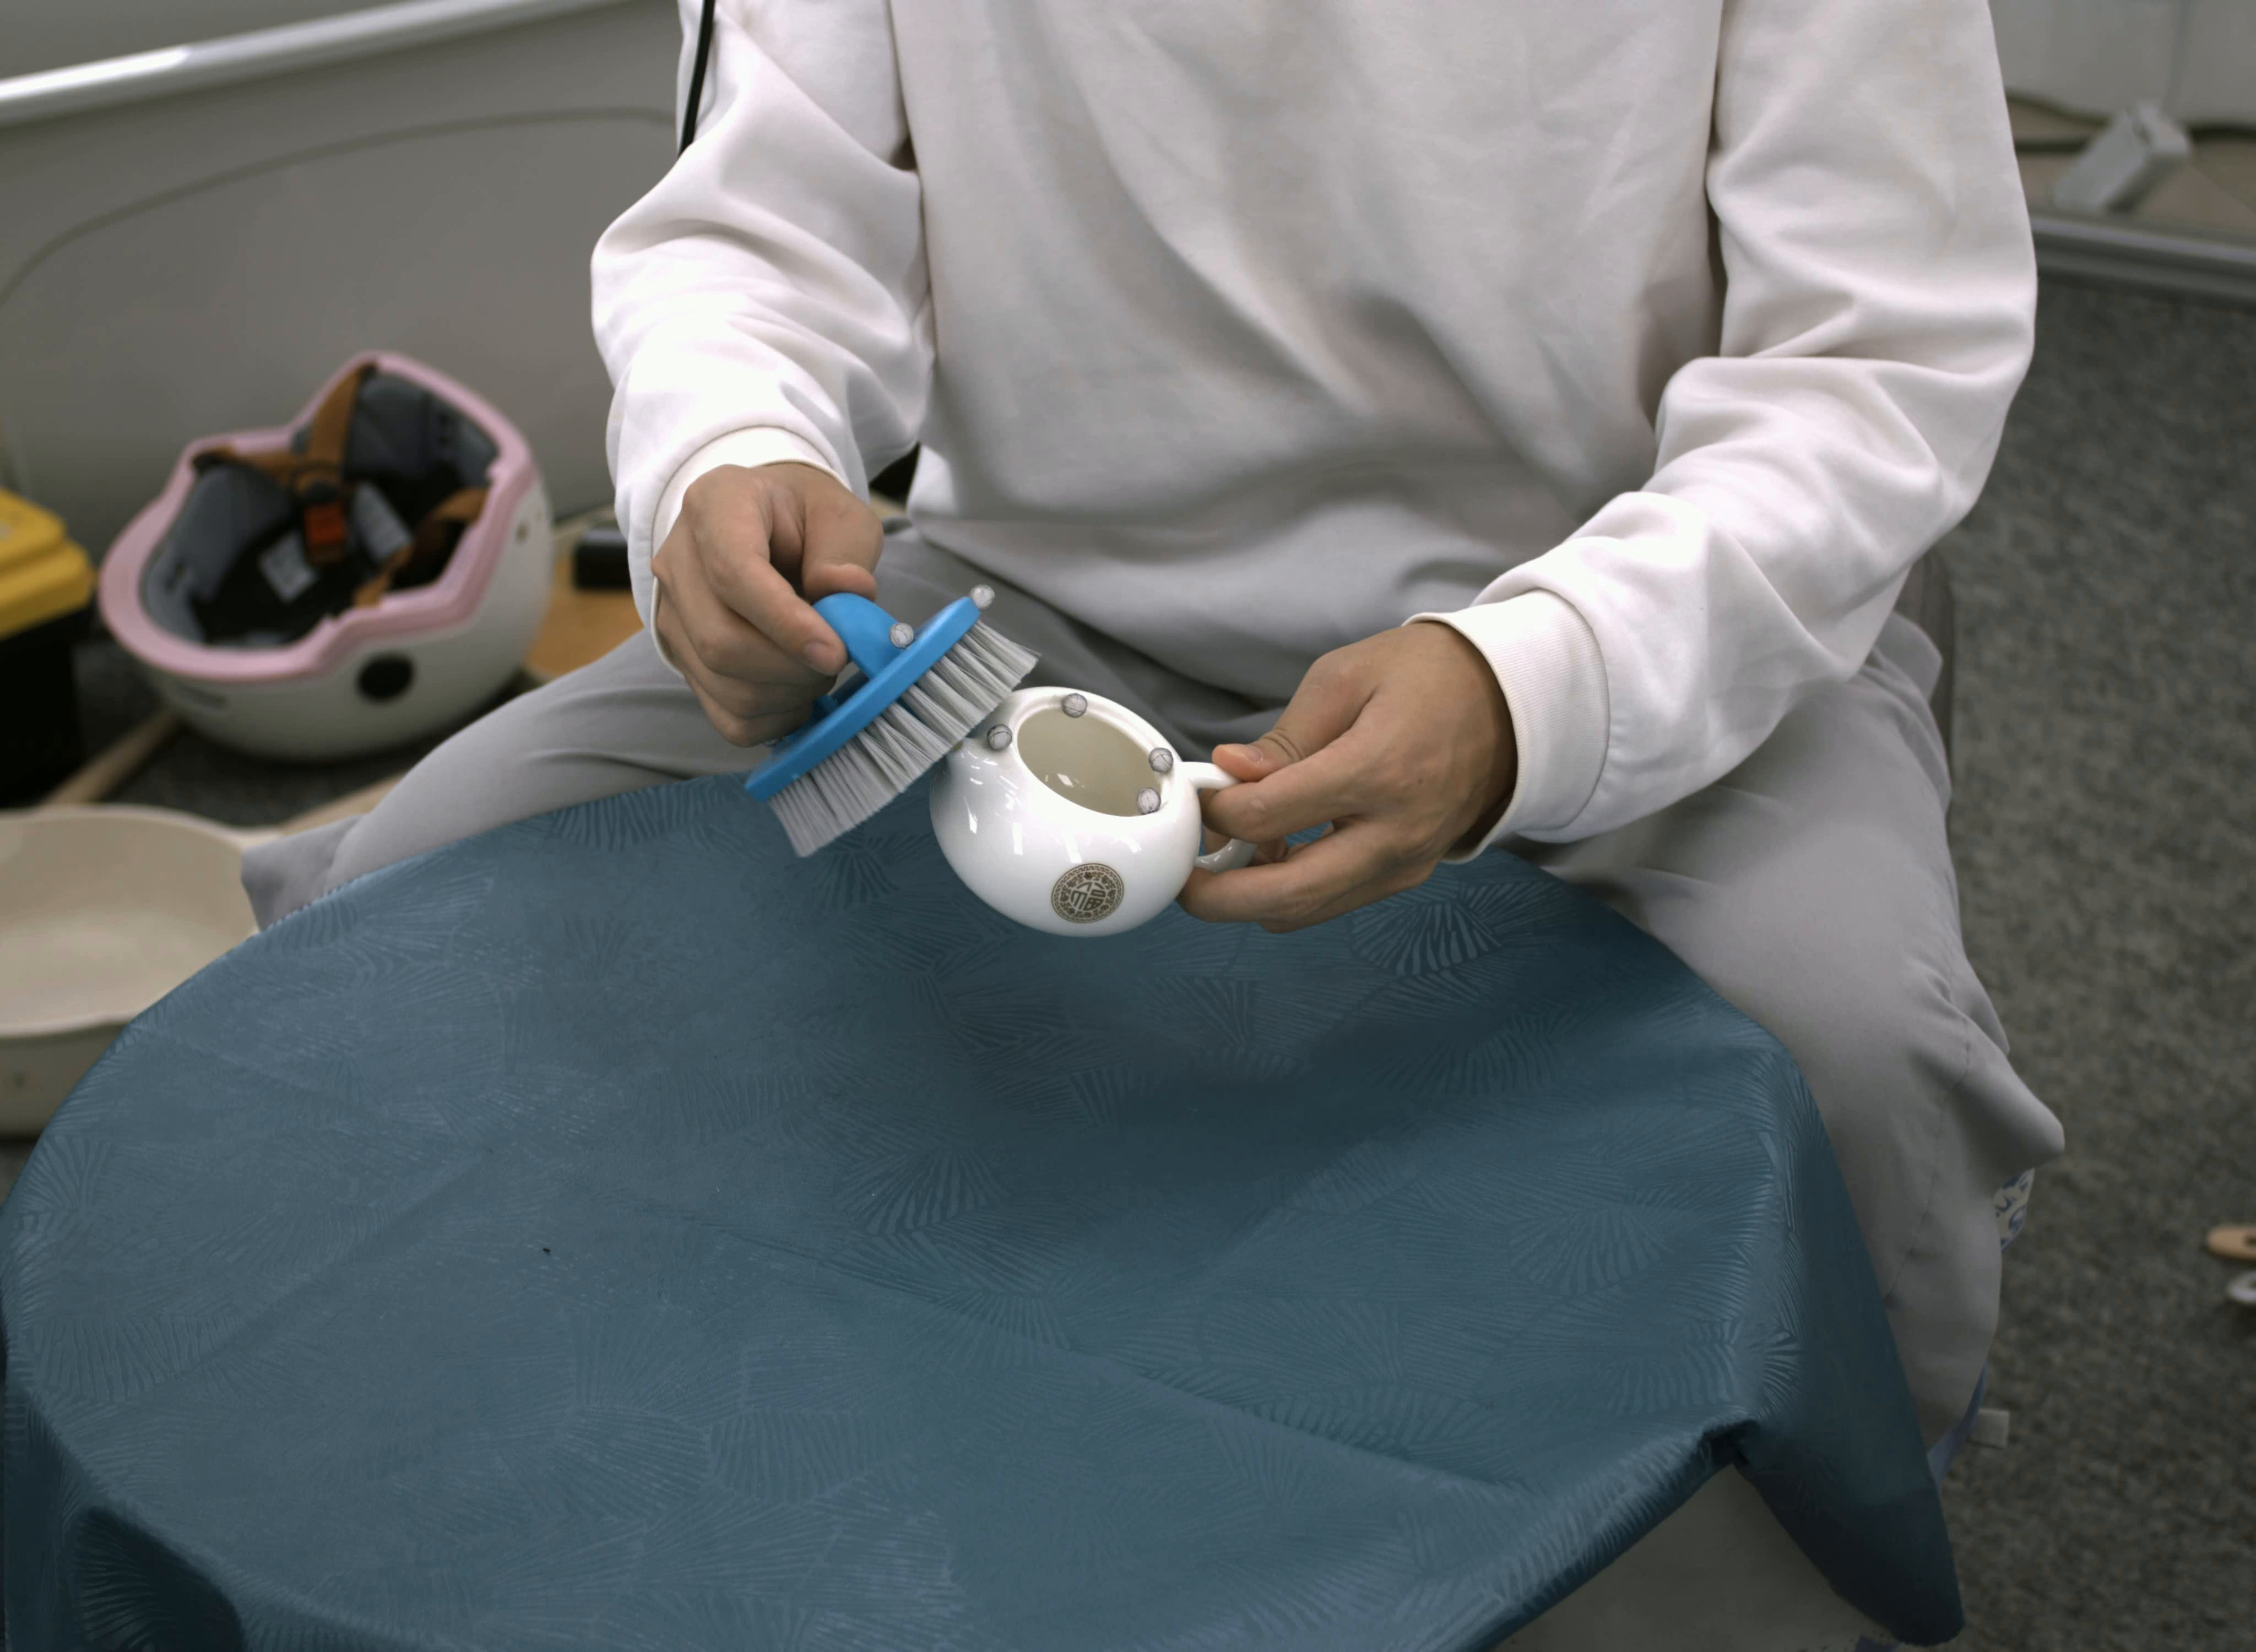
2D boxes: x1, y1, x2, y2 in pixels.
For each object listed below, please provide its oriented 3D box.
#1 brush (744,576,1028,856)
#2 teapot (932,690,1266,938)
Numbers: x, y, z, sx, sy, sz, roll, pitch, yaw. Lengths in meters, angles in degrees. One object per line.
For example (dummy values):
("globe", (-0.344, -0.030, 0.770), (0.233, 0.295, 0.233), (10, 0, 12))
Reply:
("brush", (-0.092, -0.045, 1.876), (0.085, 0.063, 0.140), (-48, 7, -24))
("teapot", (-0.010, -0.003, 1.884), (0.127, 0.056, 0.095), (4, 37, -30))
